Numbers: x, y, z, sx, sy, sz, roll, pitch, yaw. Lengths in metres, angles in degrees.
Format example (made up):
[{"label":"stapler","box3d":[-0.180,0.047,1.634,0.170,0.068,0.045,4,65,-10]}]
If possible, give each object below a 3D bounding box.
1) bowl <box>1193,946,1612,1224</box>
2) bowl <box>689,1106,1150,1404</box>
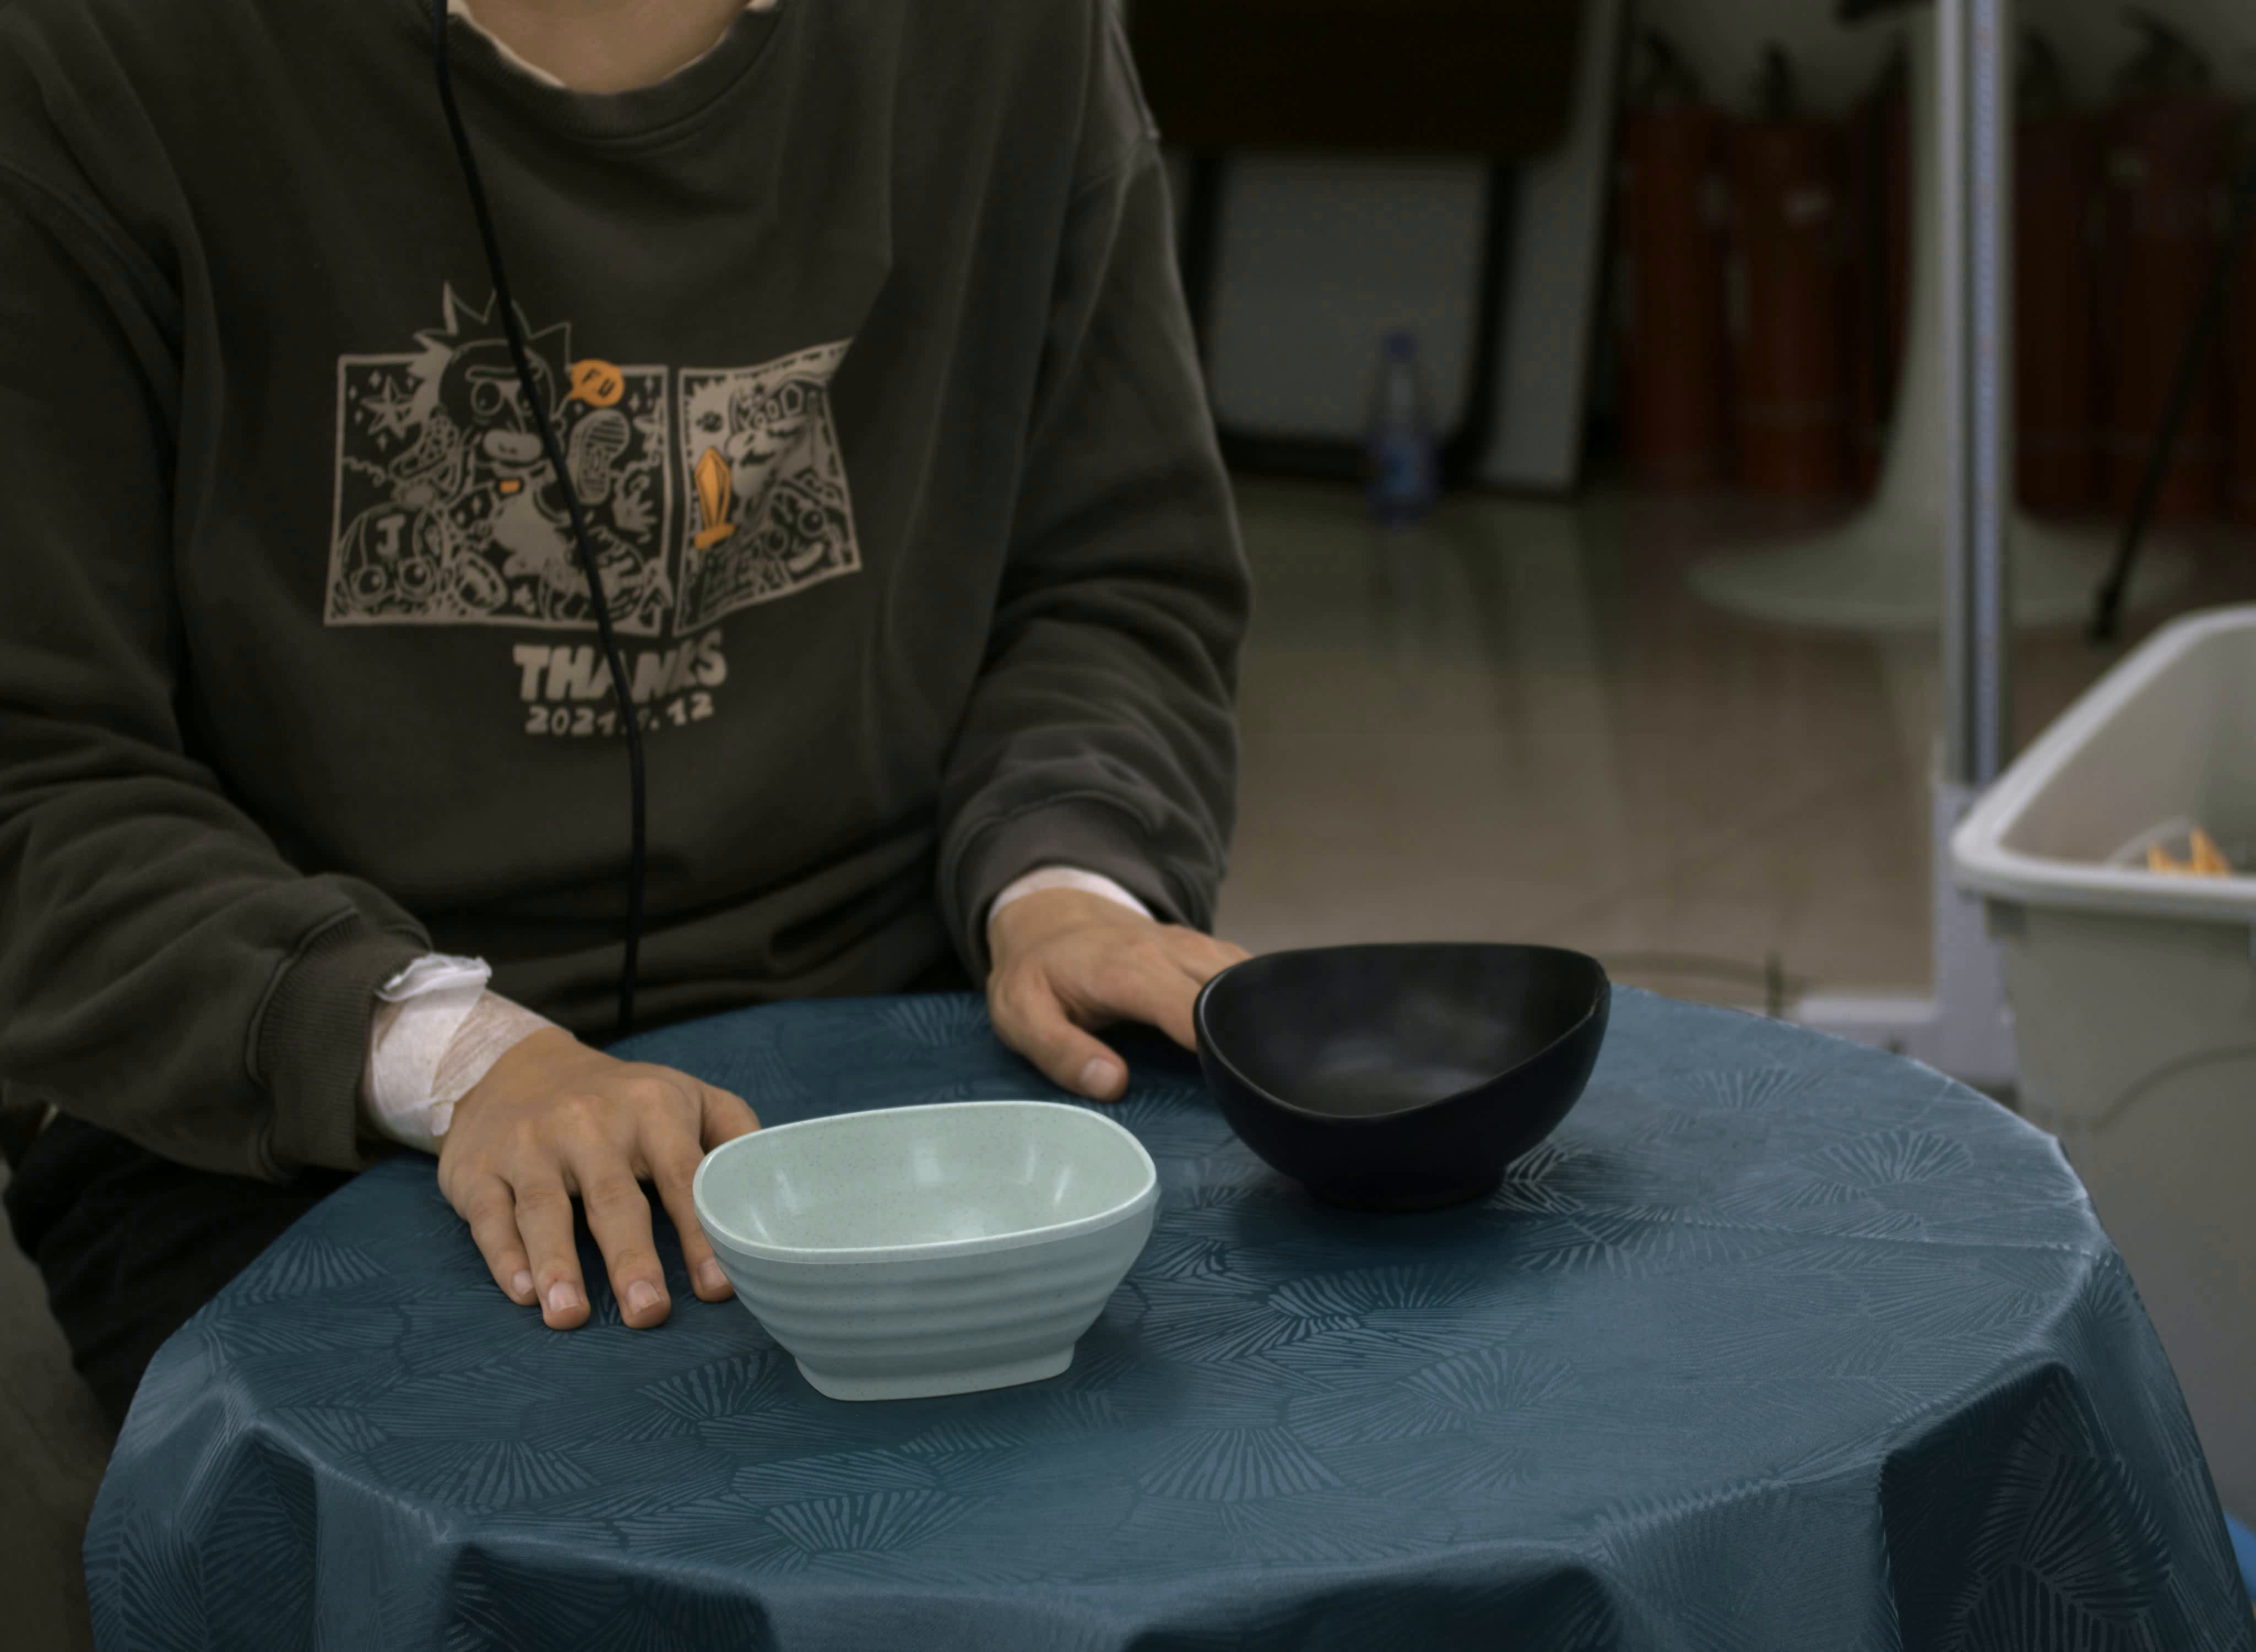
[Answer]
[{"label":"bowl","box3d":[0.090,0.088,1.755,0.136,0.067,0.169,-1,15,13]},{"label":"bowl","box3d":[-0.062,0.132,1.627,0.149,0.059,0.152,-2,14,0]}]
